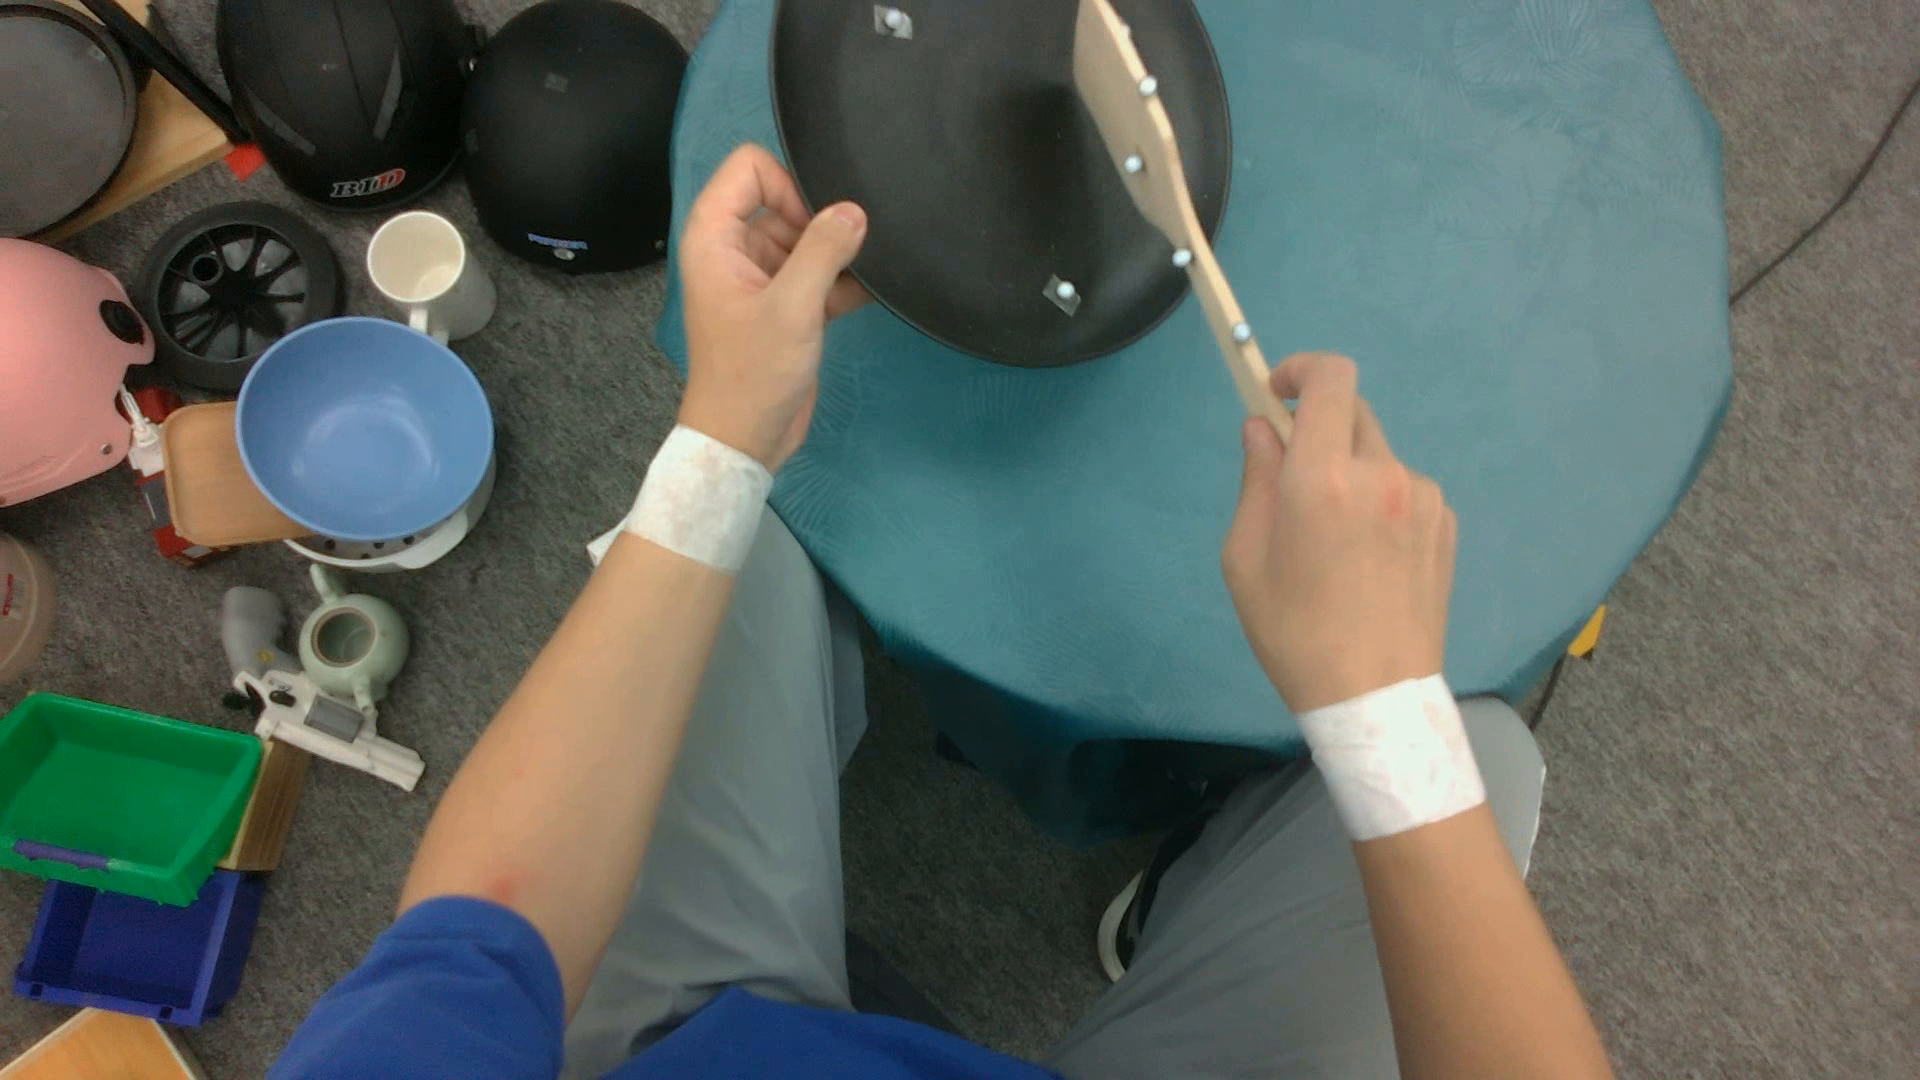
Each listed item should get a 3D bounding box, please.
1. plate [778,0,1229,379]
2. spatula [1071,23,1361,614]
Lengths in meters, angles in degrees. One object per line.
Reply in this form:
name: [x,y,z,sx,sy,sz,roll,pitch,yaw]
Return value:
plate: [0.025,-0.198,0.674,0.245,0.023,0.244,2,84,-25]
spatula: [0.112,-0.100,0.616,0.010,0.072,0.293,-21,73,-6]
